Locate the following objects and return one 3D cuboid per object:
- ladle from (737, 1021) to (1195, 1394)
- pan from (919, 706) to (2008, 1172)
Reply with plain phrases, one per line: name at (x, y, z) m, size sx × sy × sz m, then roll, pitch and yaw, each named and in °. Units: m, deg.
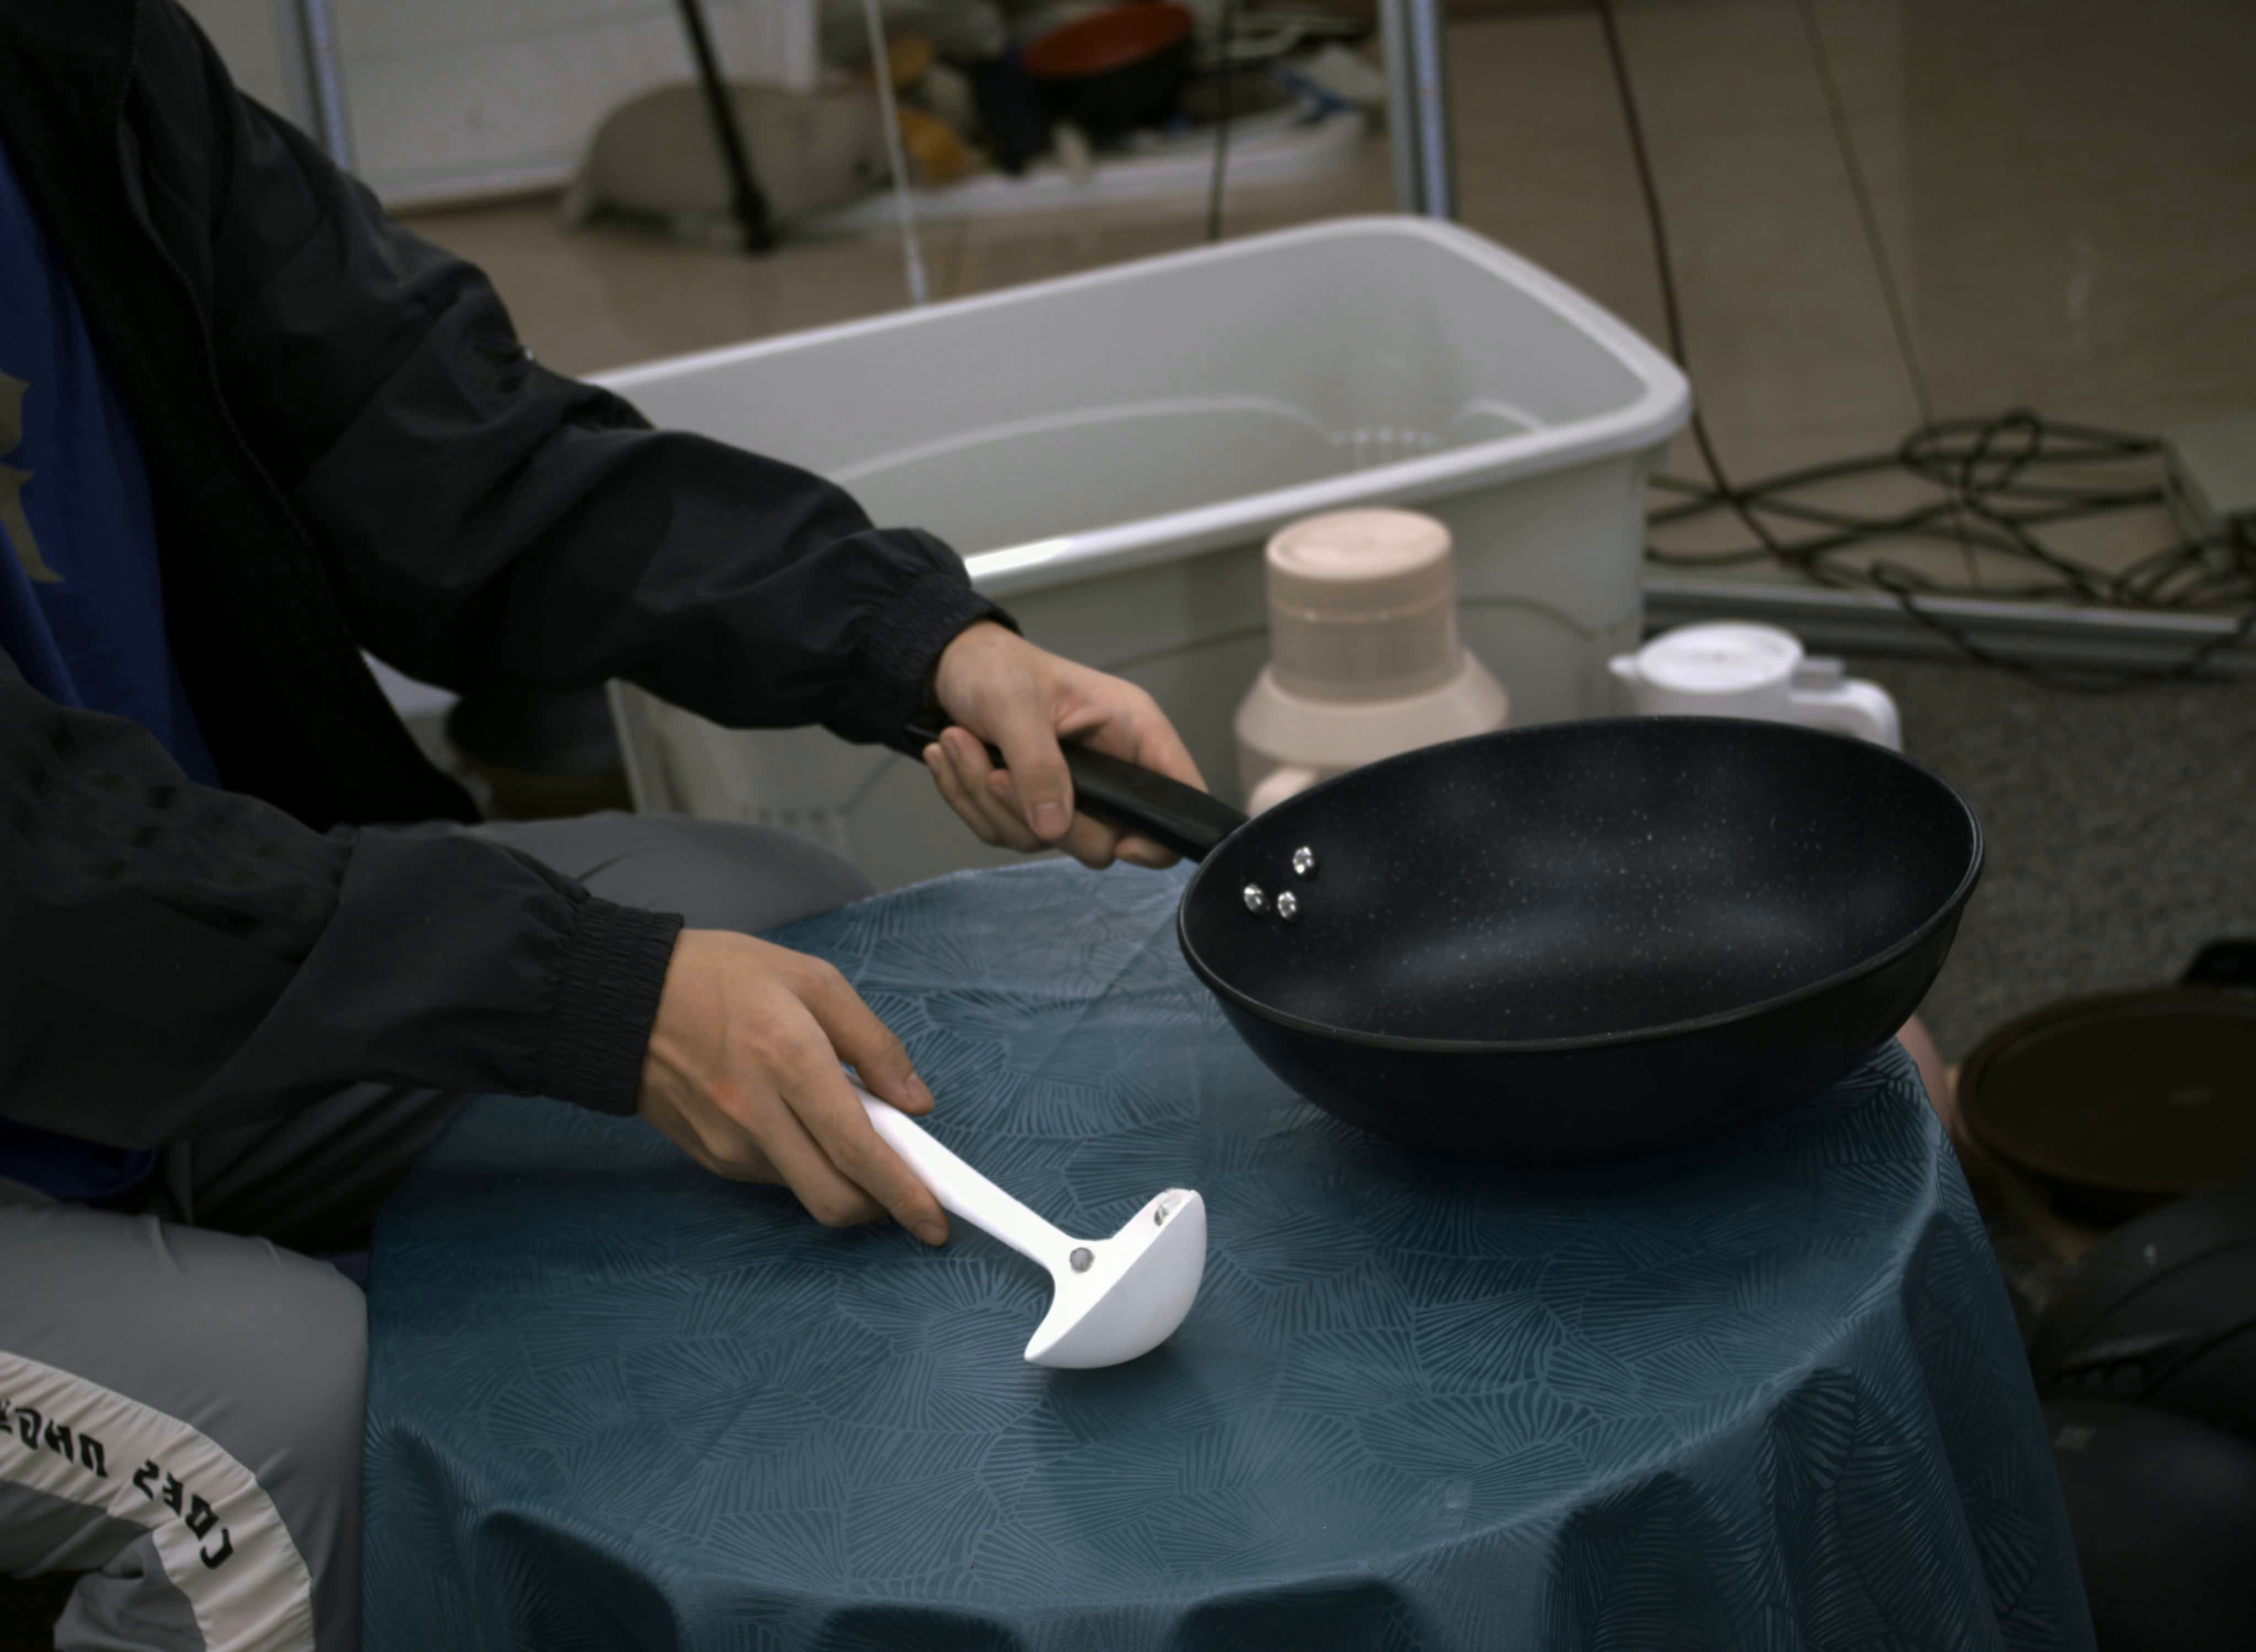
ladle at (-0.070, 0.130, 2.111) m, size 0.090 × 0.071 × 0.290 m, roll -55°, pitch 42°, yaw -4°
pan at (0.114, 0.036, 2.215) m, size 0.474 × 0.113 × 0.307 m, roll 10°, pitch 27°, yaw 35°
